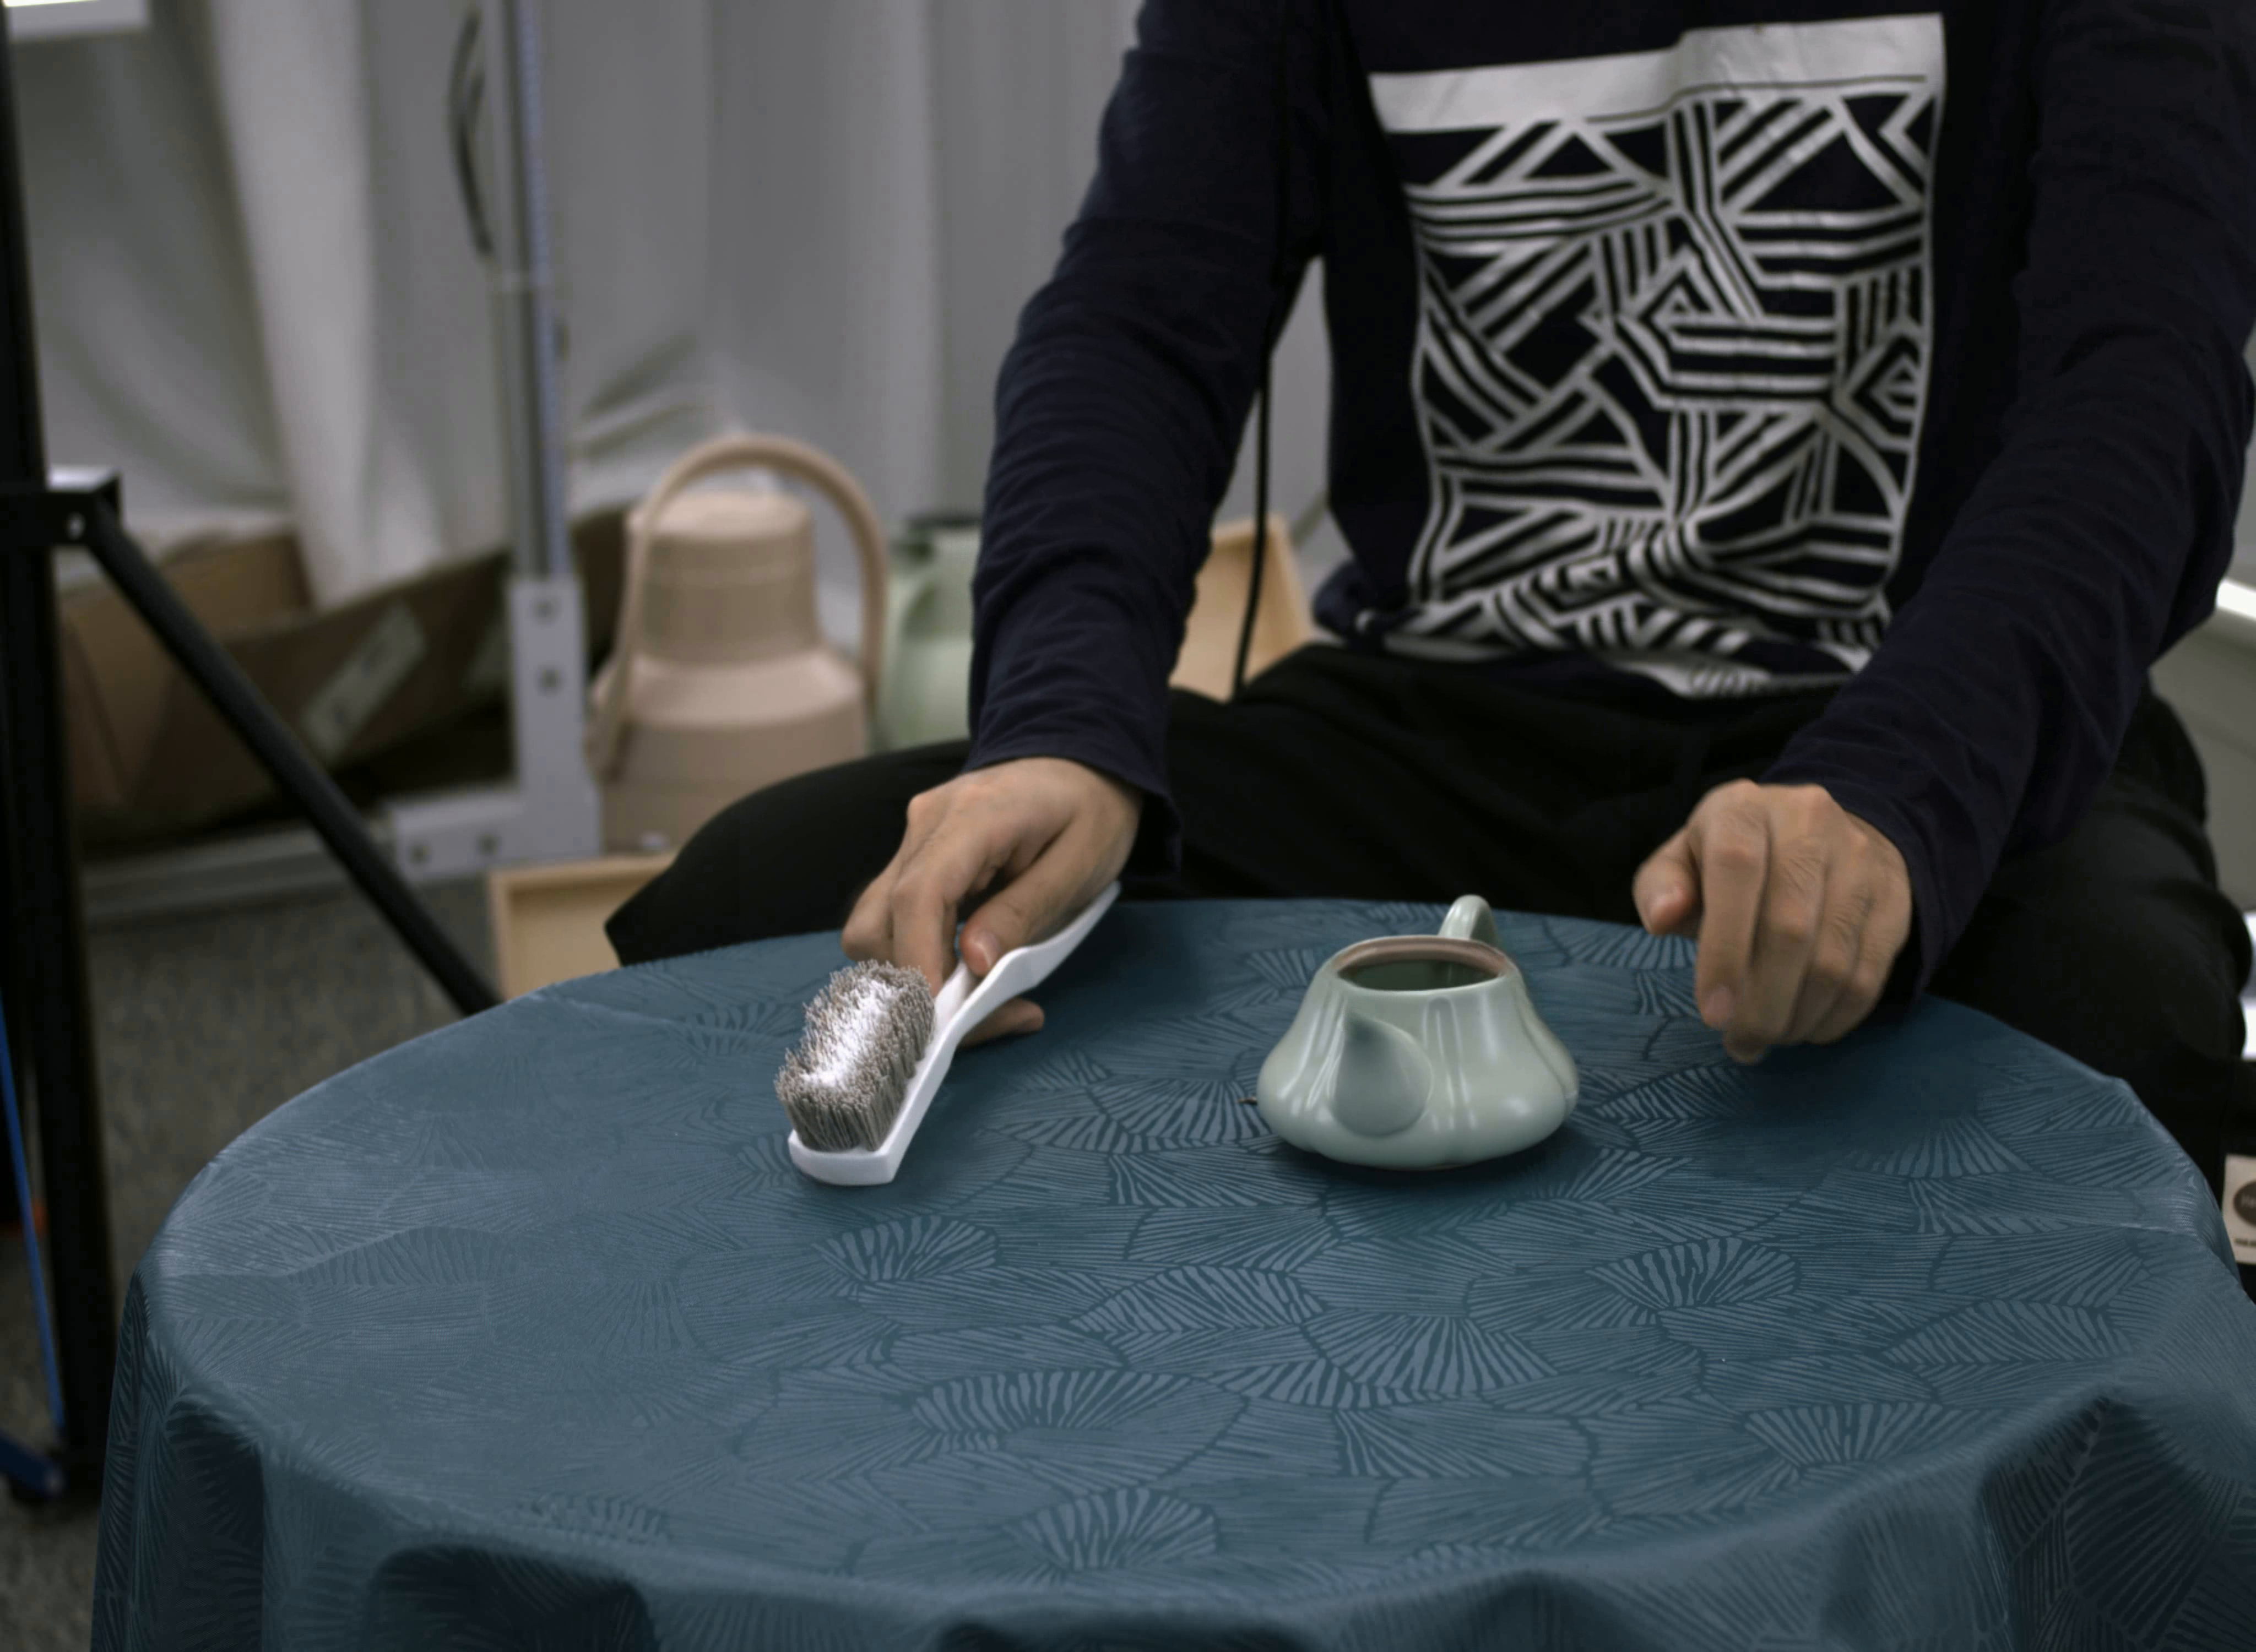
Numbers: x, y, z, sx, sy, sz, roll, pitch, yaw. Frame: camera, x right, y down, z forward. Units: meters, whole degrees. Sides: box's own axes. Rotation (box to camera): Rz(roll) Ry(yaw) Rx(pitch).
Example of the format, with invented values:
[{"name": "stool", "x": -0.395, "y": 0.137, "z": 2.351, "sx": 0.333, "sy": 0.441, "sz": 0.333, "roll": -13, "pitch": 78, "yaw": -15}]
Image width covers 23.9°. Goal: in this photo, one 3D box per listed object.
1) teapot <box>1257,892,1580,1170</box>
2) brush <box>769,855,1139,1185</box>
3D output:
[{"name": "teapot", "x": 0.087, "y": 0.065, "z": 1.588, "sx": 0.097, "sy": 0.061, "sz": 0.135, "roll": 0, "pitch": 16, "yaw": 18}, {"name": "brush", "x": -0.049, "y": 0.042, "z": 1.664, "sx": 0.035, "sy": 0.050, "sz": 0.241, "roll": 6, "pitch": 25, "yaw": 22}]
